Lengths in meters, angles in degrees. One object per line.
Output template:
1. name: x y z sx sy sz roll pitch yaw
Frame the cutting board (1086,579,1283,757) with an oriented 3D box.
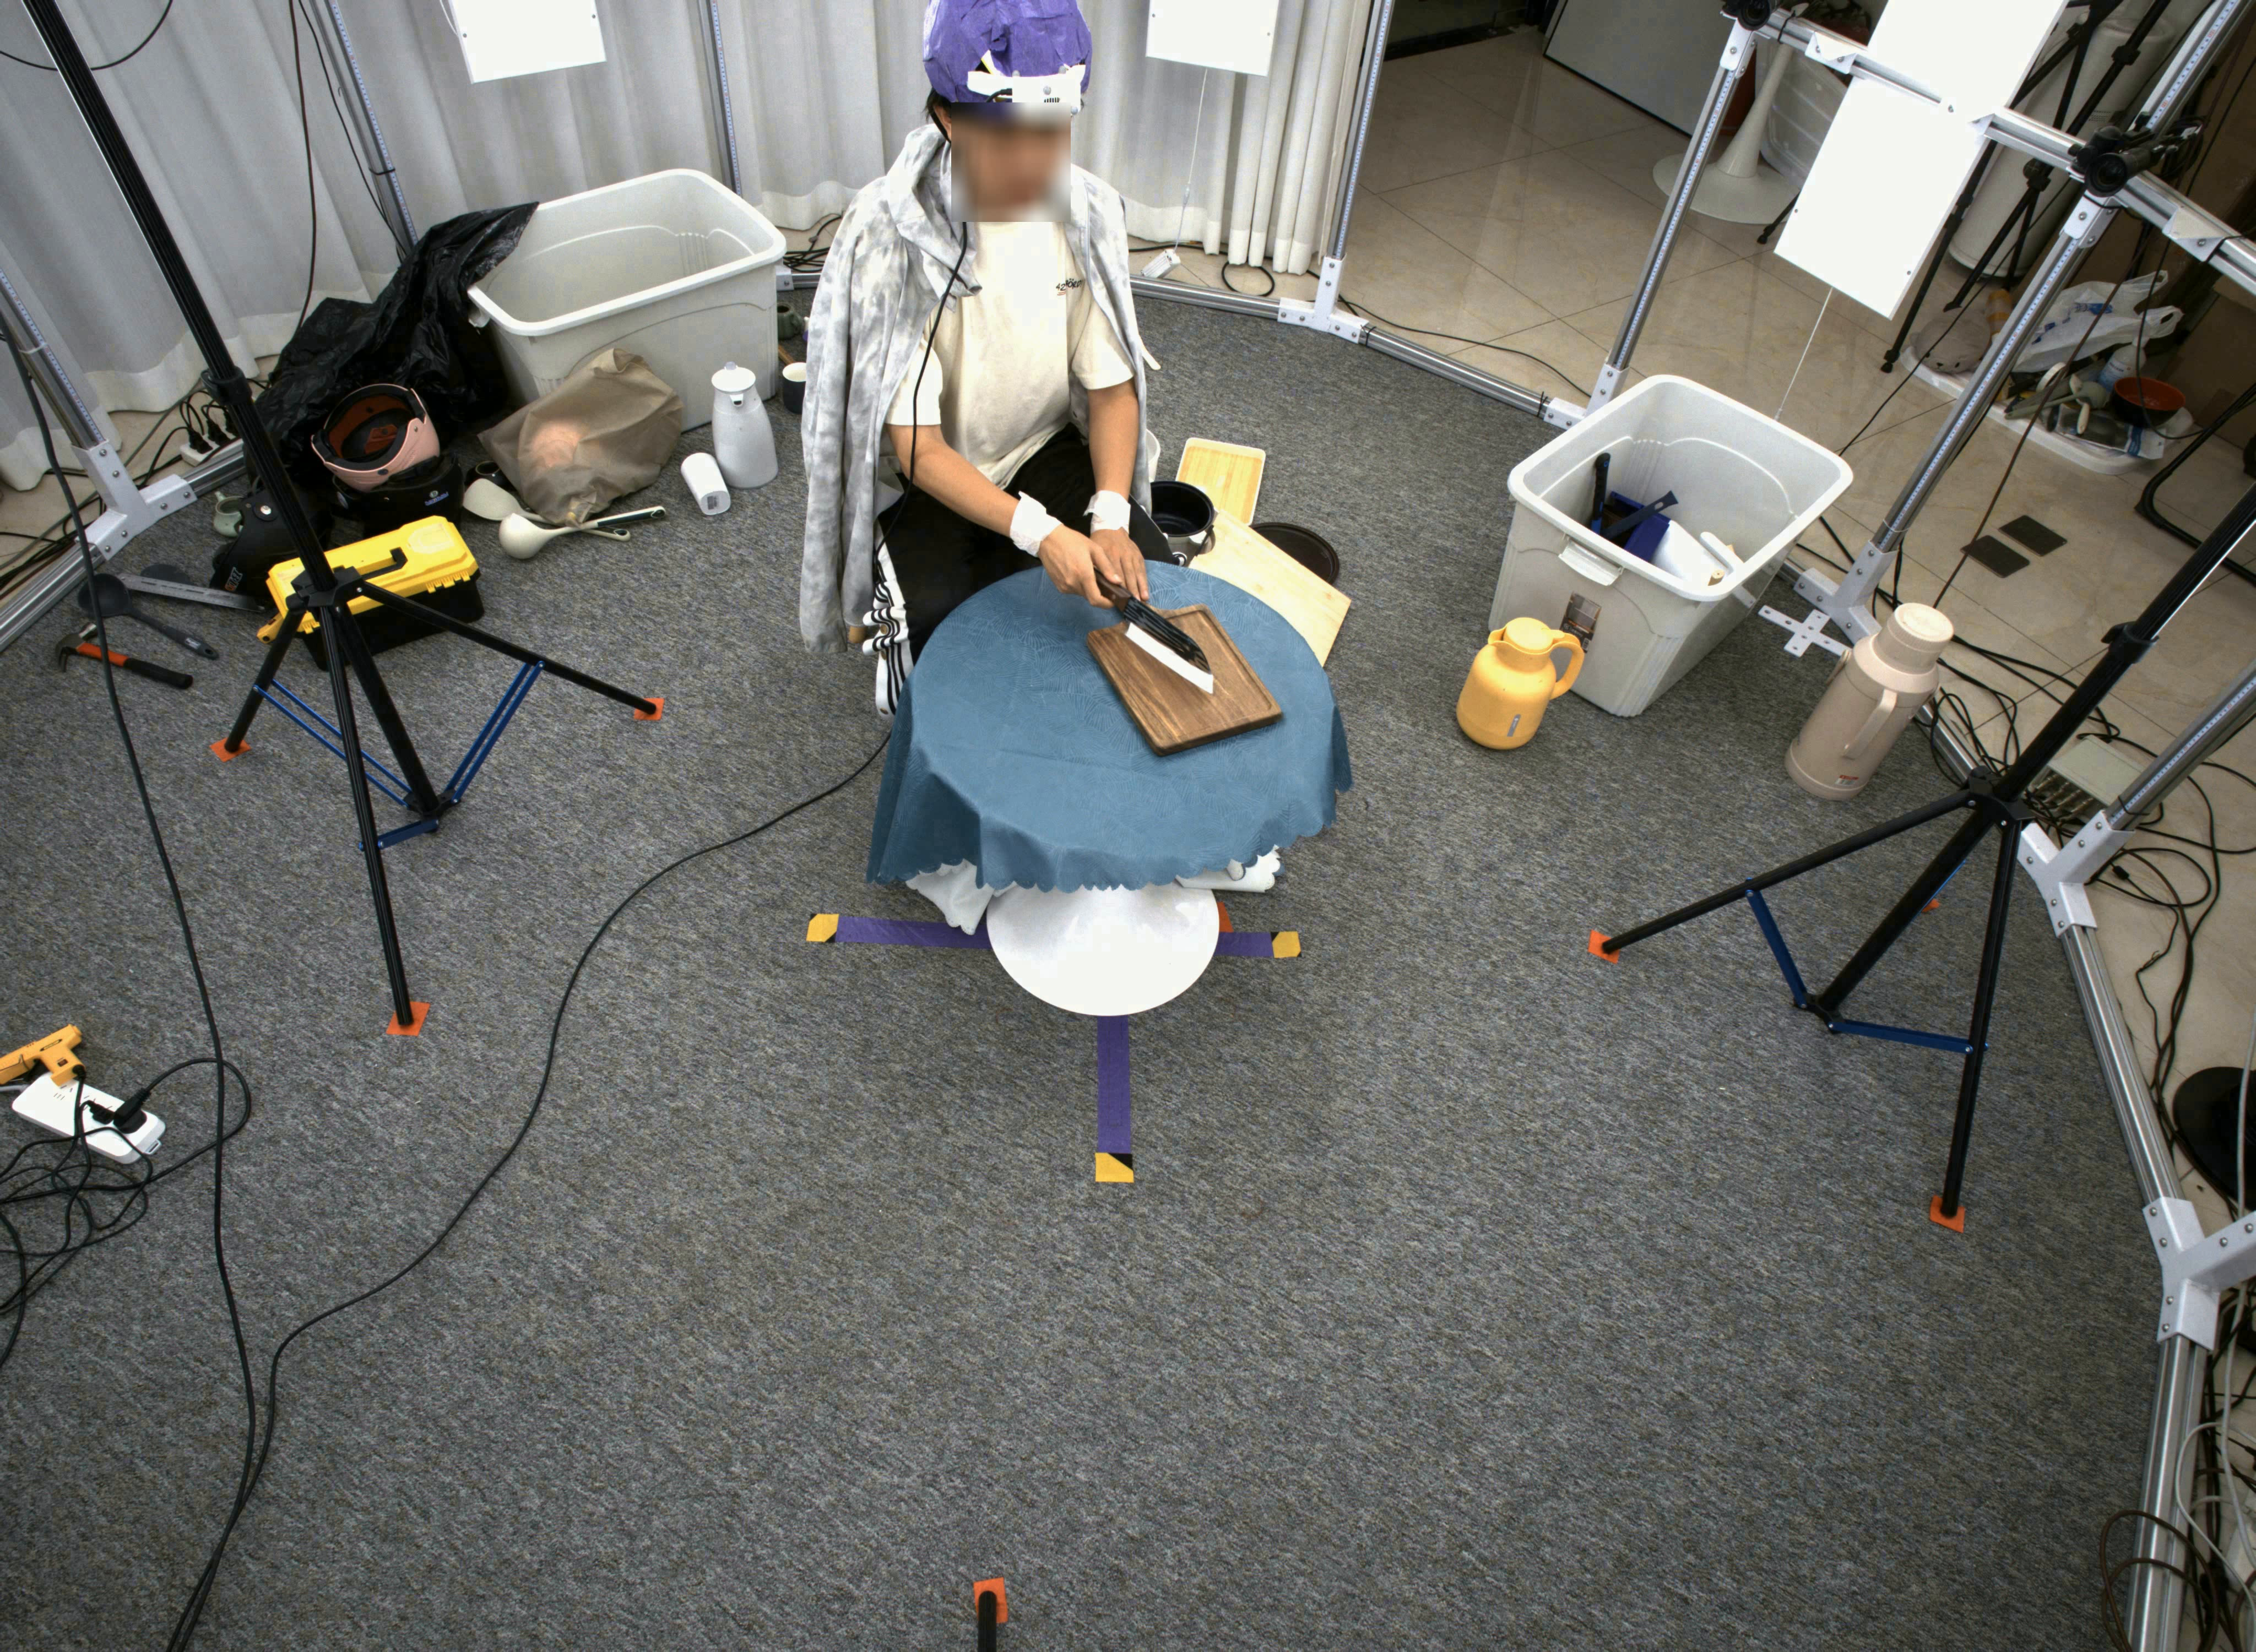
1. cutting board: 0.057 -0.250 1.872 0.201 0.022 0.360 -18 52 -17

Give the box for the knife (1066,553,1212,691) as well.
1. knife: 0.015 -0.295 1.851 0.304 0.066 0.024 40 47 24
